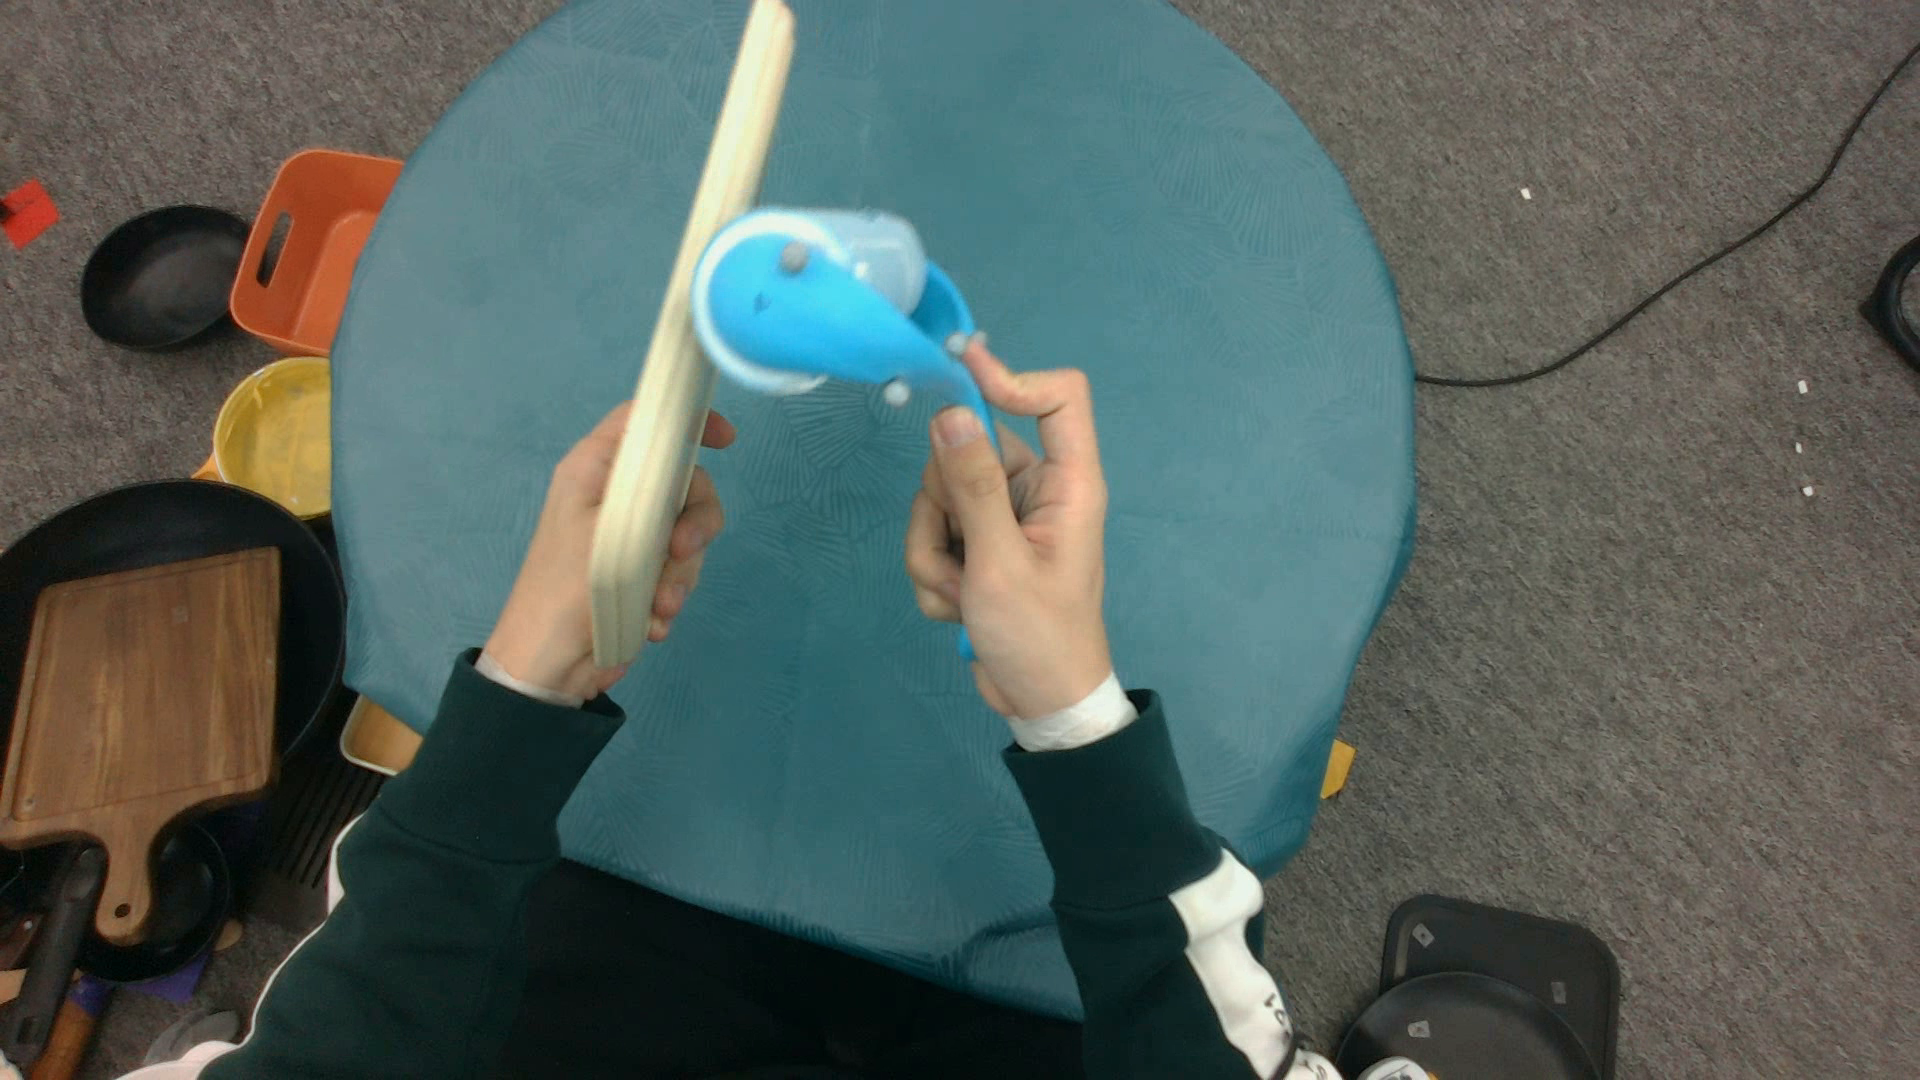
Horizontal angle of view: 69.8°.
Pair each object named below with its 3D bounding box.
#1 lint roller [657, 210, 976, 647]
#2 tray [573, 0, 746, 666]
[{"bbox_3d":[-0.030,-0.048,0.531,0.068,0.229,0.180,-32,103,8],"label":"lint roller"},{"bbox_3d":[-0.114,-0.078,0.534,0.017,0.170,0.240,11,69,-9],"label":"tray"}]
